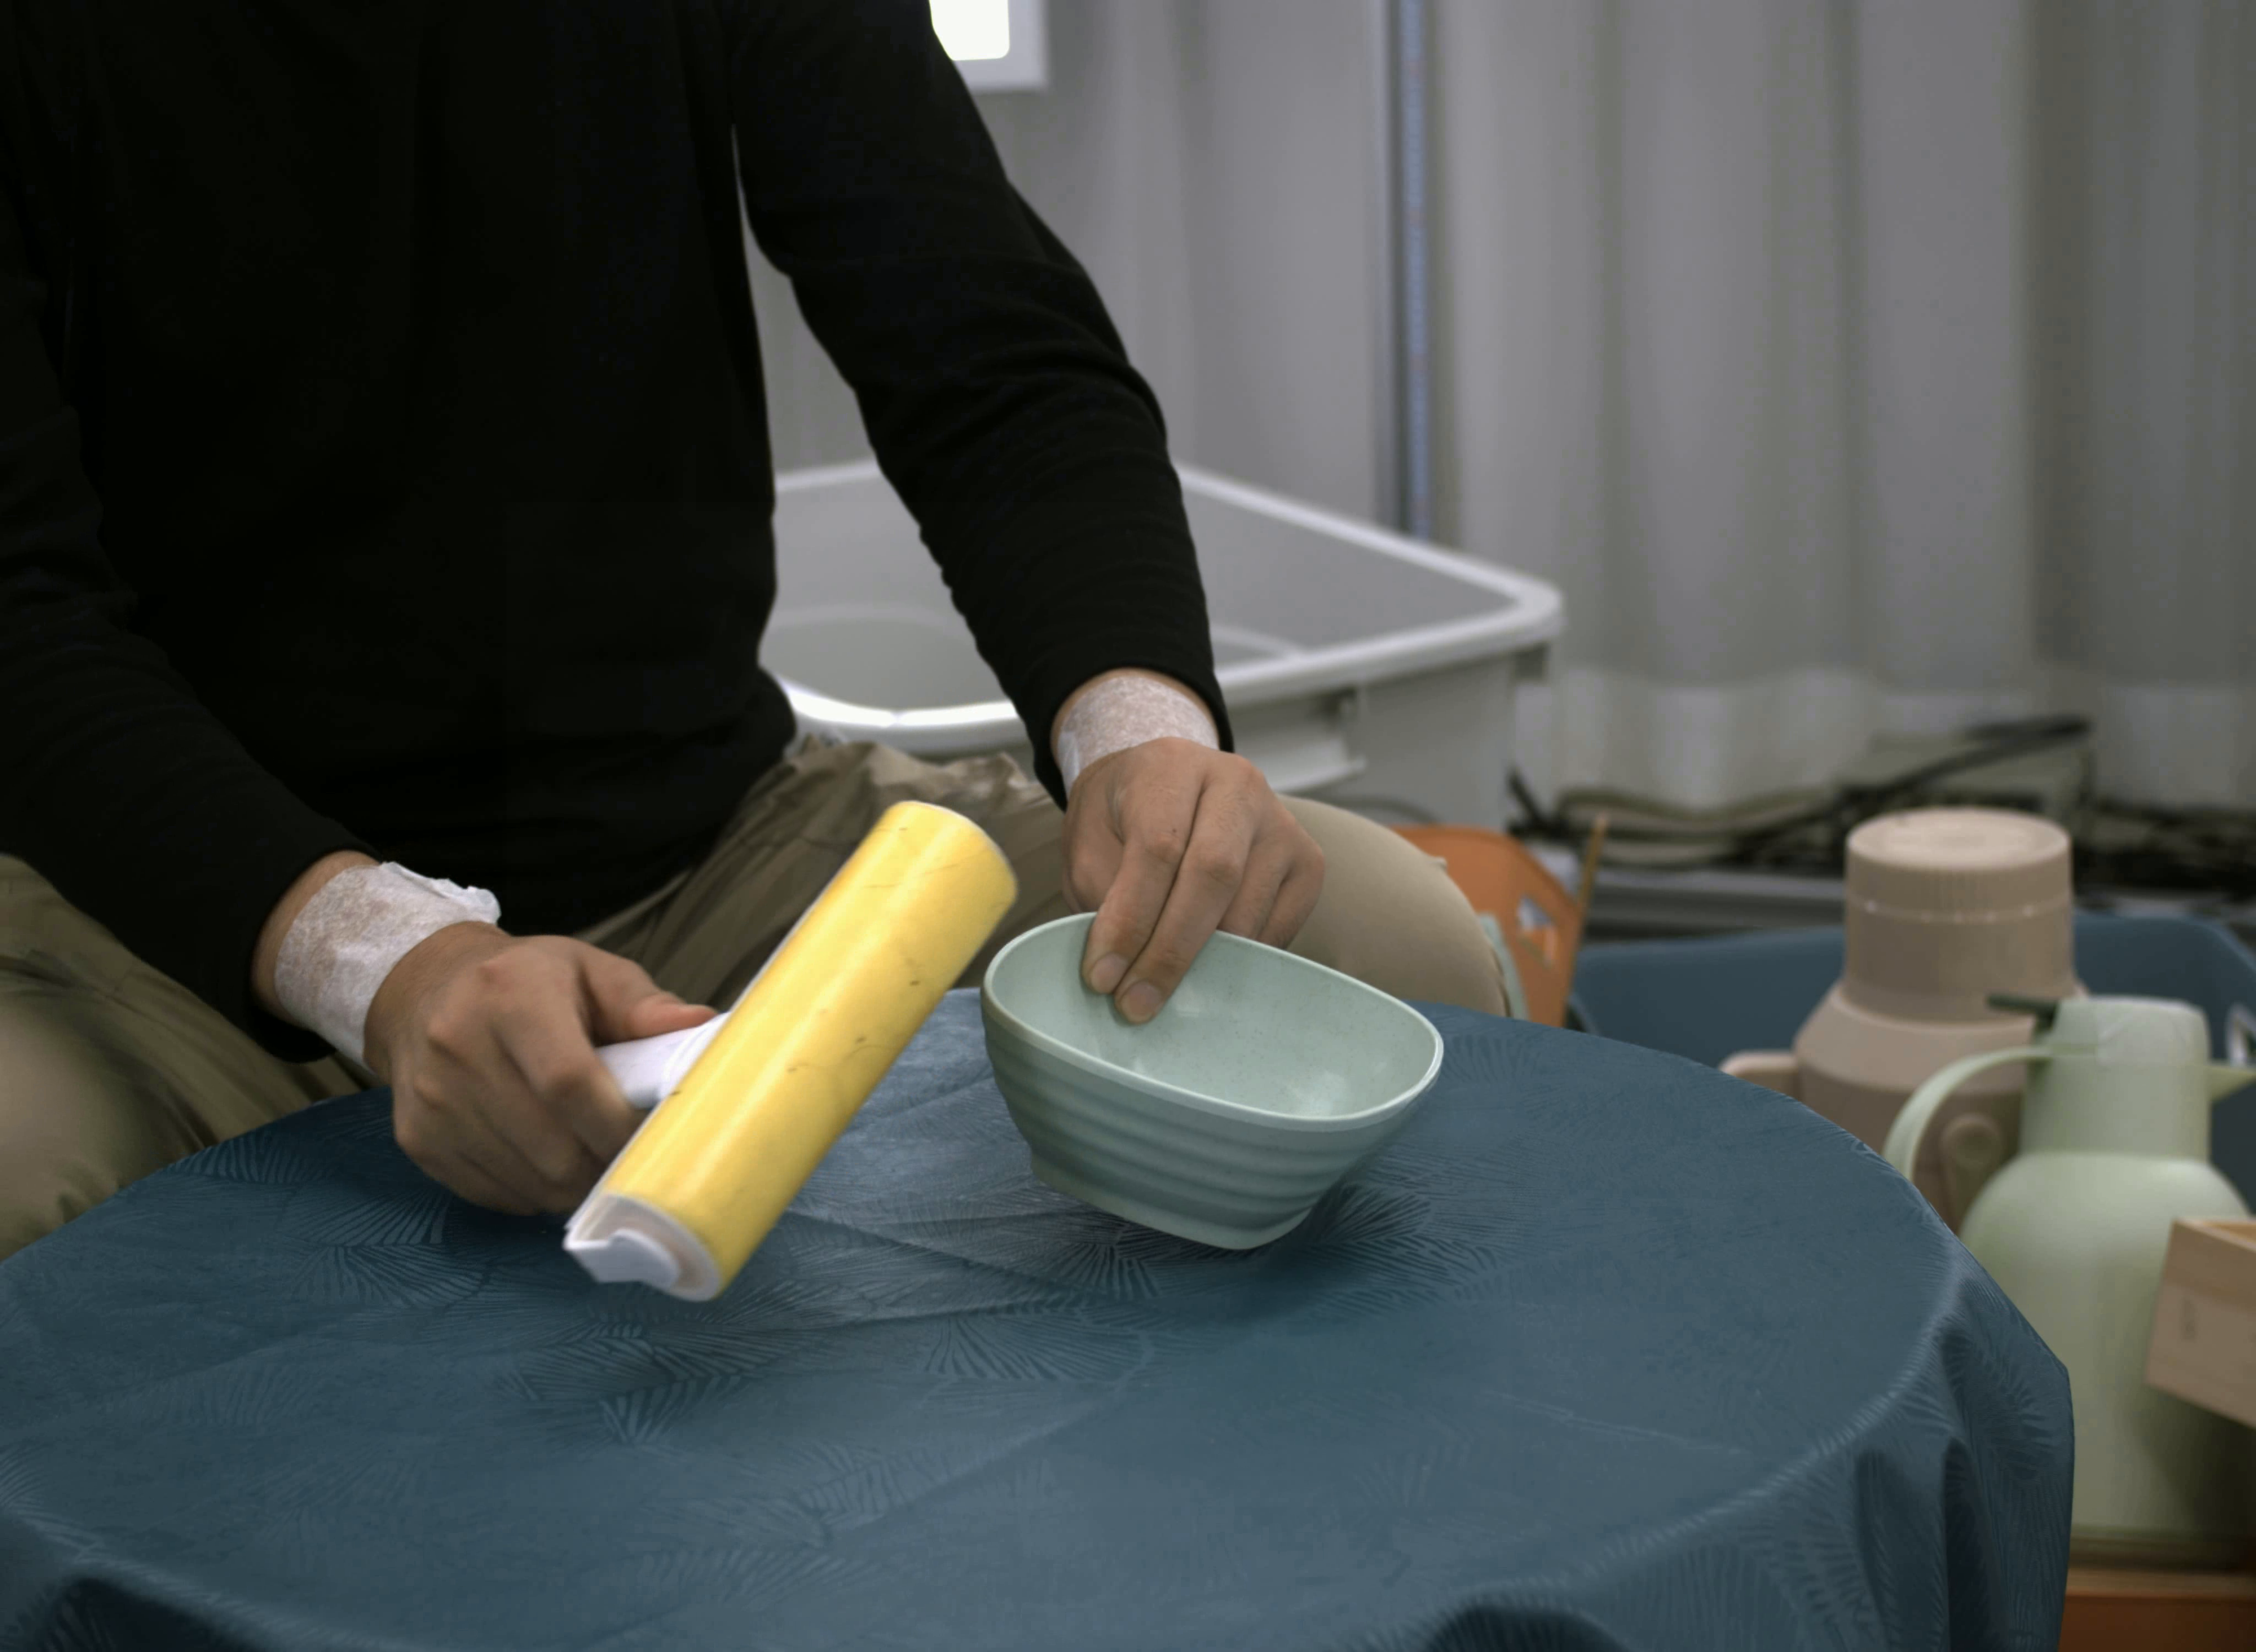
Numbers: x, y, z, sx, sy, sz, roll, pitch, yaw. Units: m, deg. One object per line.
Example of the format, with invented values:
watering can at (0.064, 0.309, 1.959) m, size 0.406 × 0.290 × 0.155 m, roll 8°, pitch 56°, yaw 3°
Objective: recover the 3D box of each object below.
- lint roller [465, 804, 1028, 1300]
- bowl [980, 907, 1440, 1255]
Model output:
lint roller at (-0.142, 0.066, 1.648) m, size 0.192 × 0.051 × 0.176 m, roll 0°, pitch 43°, yaw 42°
bowl at (0.019, 0.083, 1.678) m, size 0.151 × 0.058 × 0.153 m, roll 13°, pitch 20°, yaw -5°
